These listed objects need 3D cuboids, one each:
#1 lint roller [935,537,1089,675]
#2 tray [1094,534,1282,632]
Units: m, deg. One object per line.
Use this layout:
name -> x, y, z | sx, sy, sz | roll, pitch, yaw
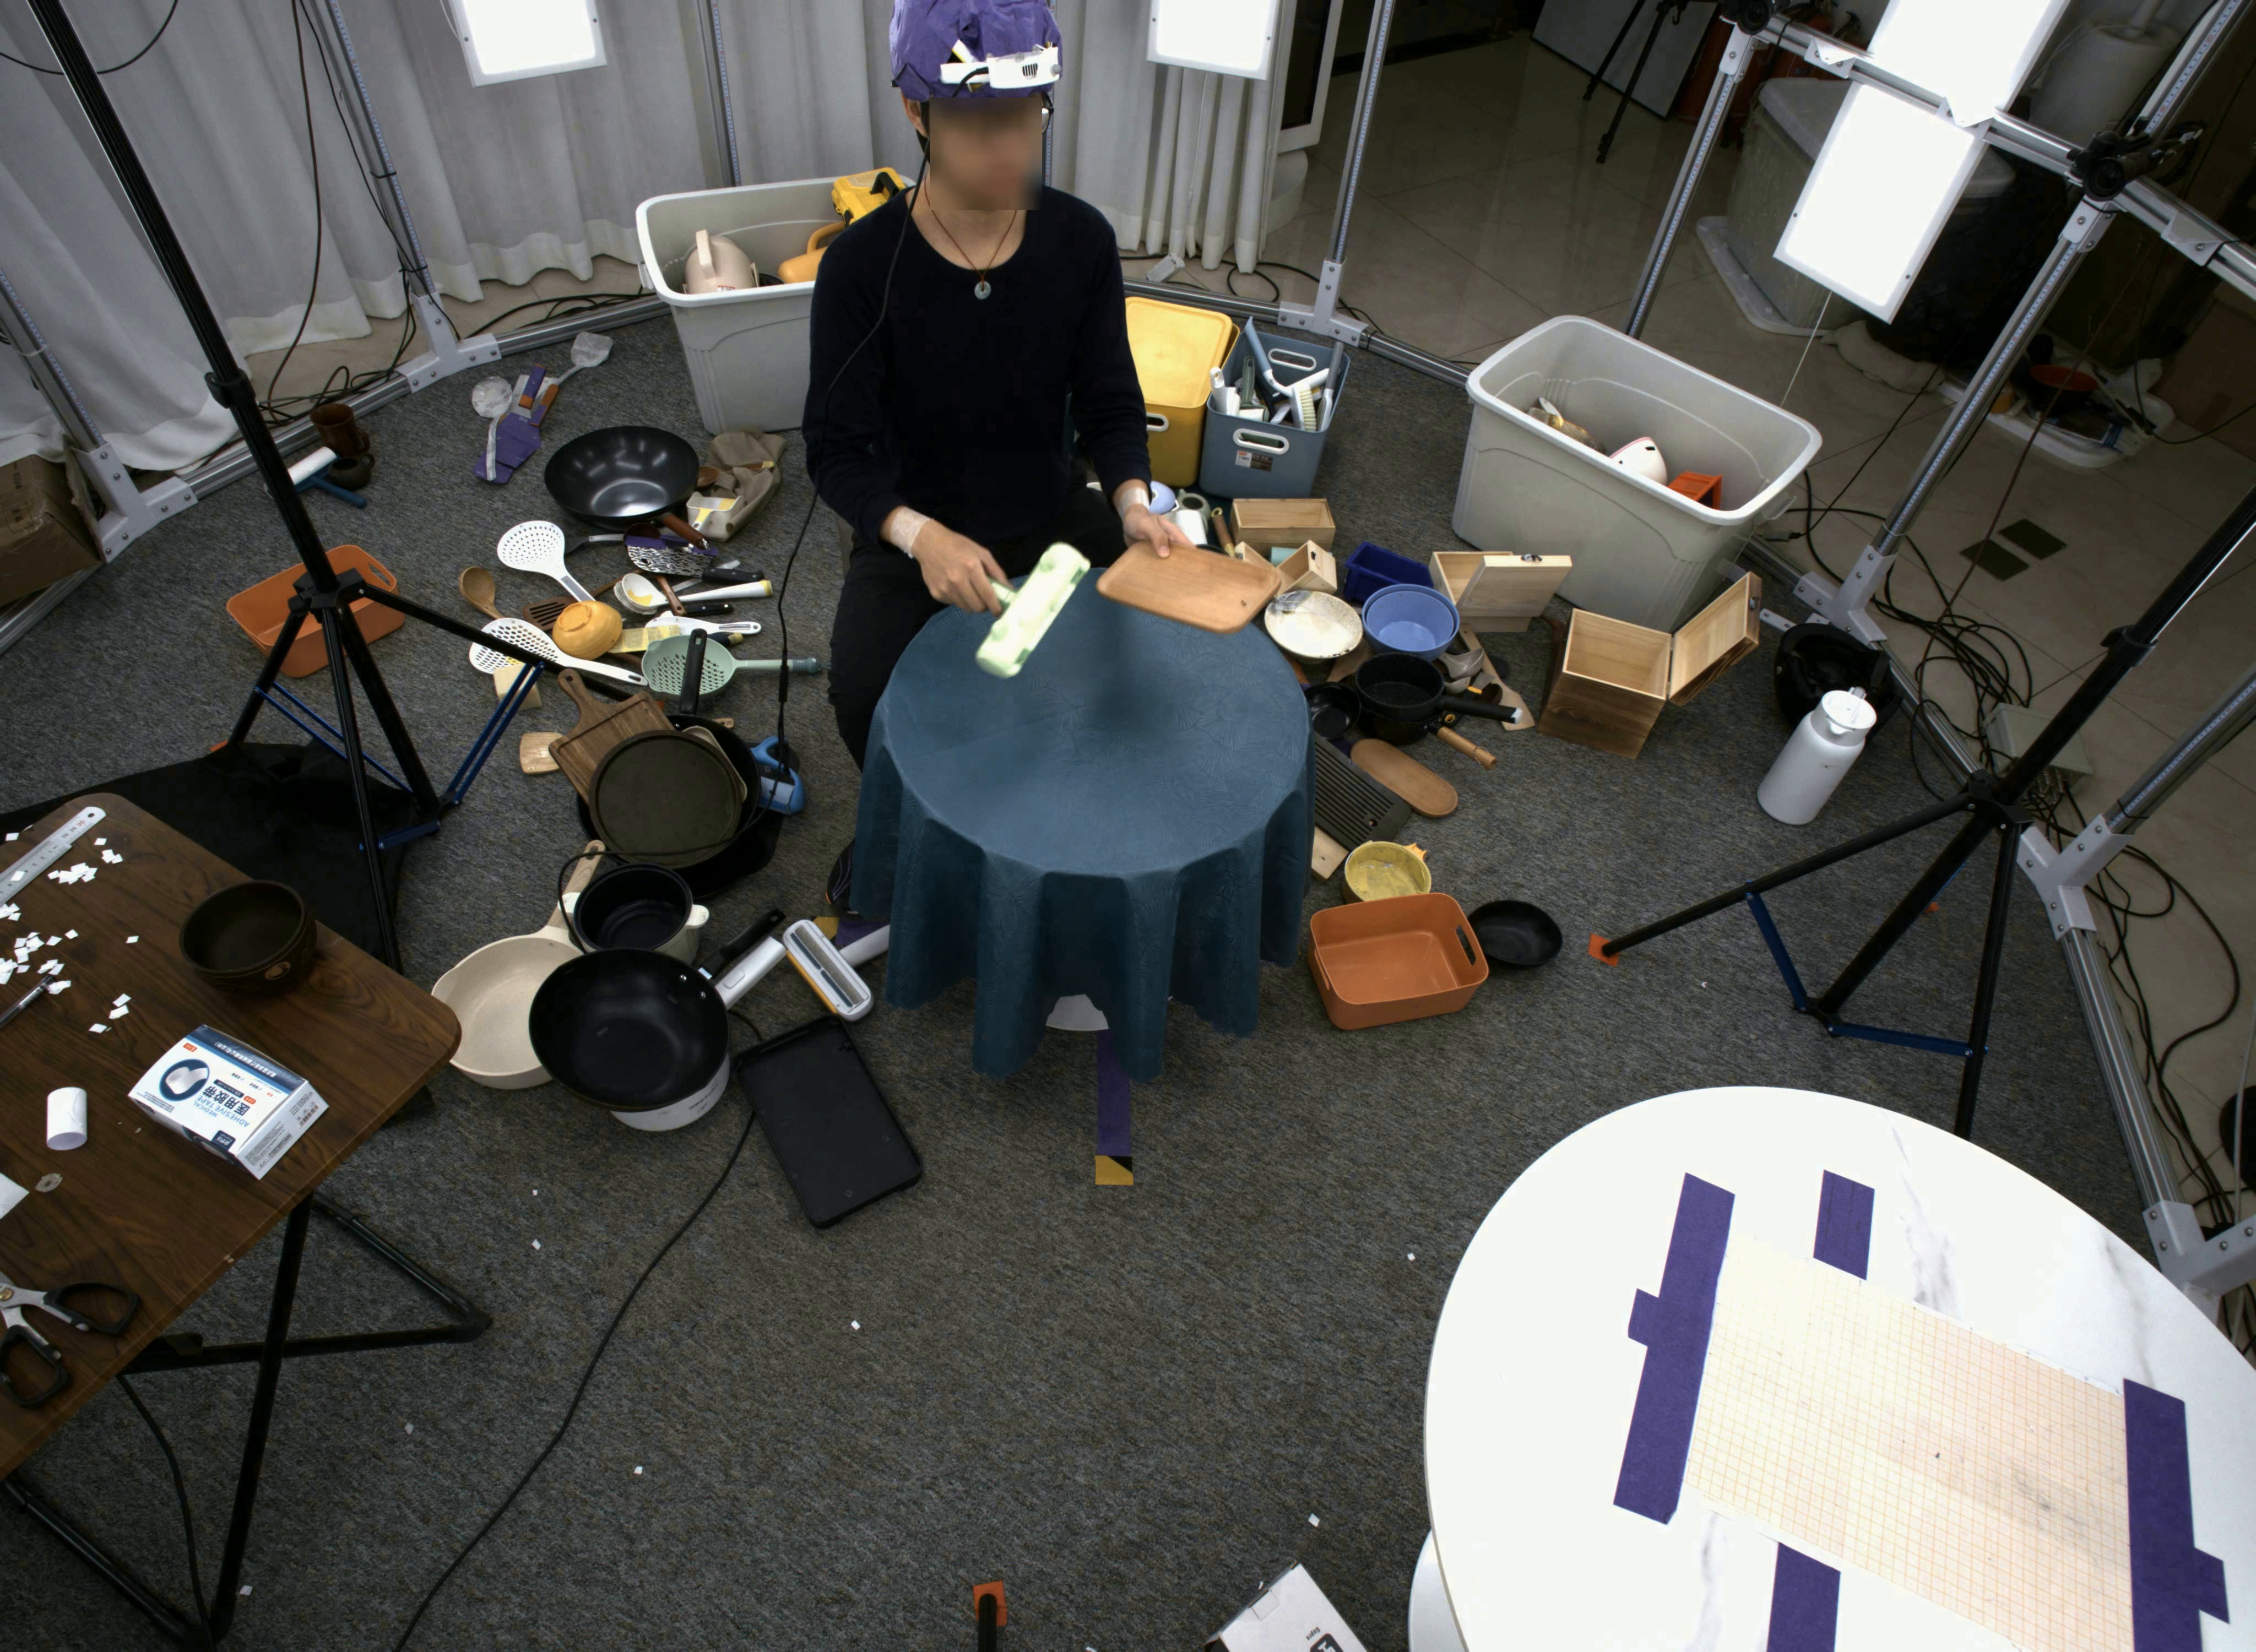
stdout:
lint roller -> -0.174, -0.317, 1.687 | 0.184, 0.081, 0.201 | 28, 73, 6
tray -> 0.076, -0.320, 1.685 | 0.254, 0.022, 0.132 | 23, 58, 38
